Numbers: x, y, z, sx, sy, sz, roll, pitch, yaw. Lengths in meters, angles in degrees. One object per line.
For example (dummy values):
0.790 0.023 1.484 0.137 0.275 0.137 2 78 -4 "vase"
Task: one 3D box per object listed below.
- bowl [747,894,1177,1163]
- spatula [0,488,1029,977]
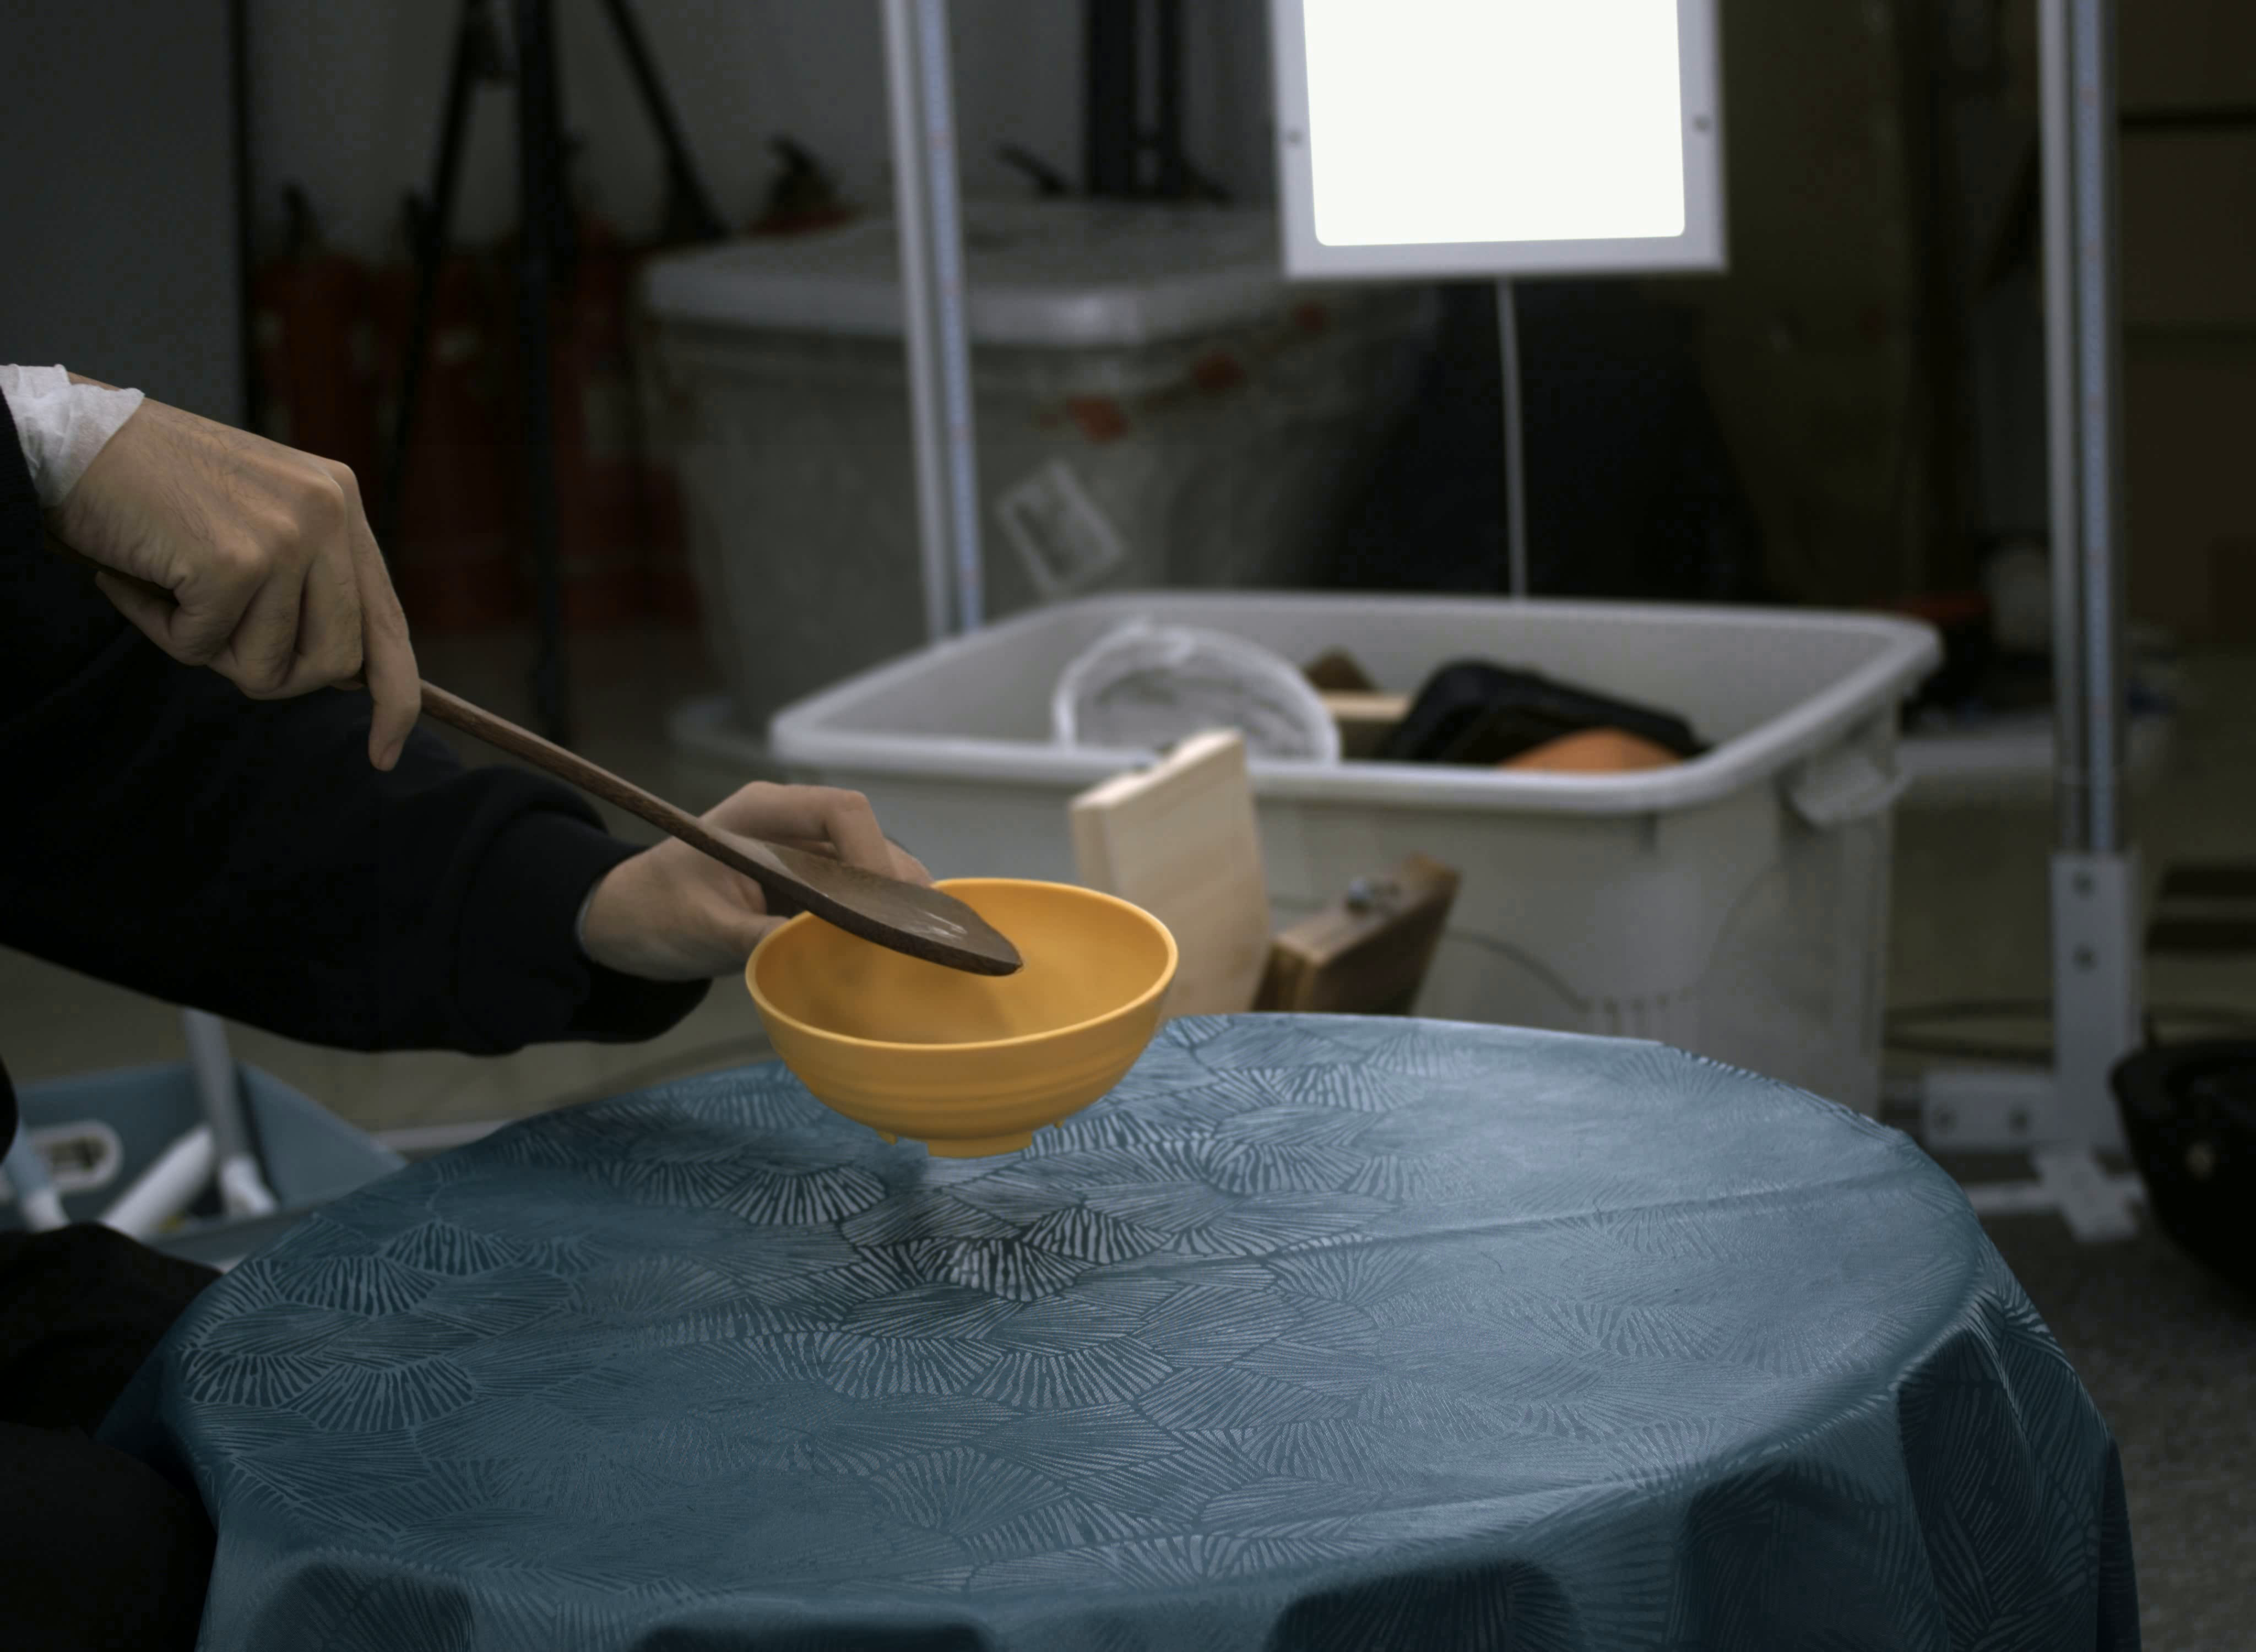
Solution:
-0.055 0.073 1.845 0.145 0.060 0.145 -3 19 0 "bowl"
-0.202 -0.030 1.788 0.380 0.016 0.097 25 6 -18 "spatula"
